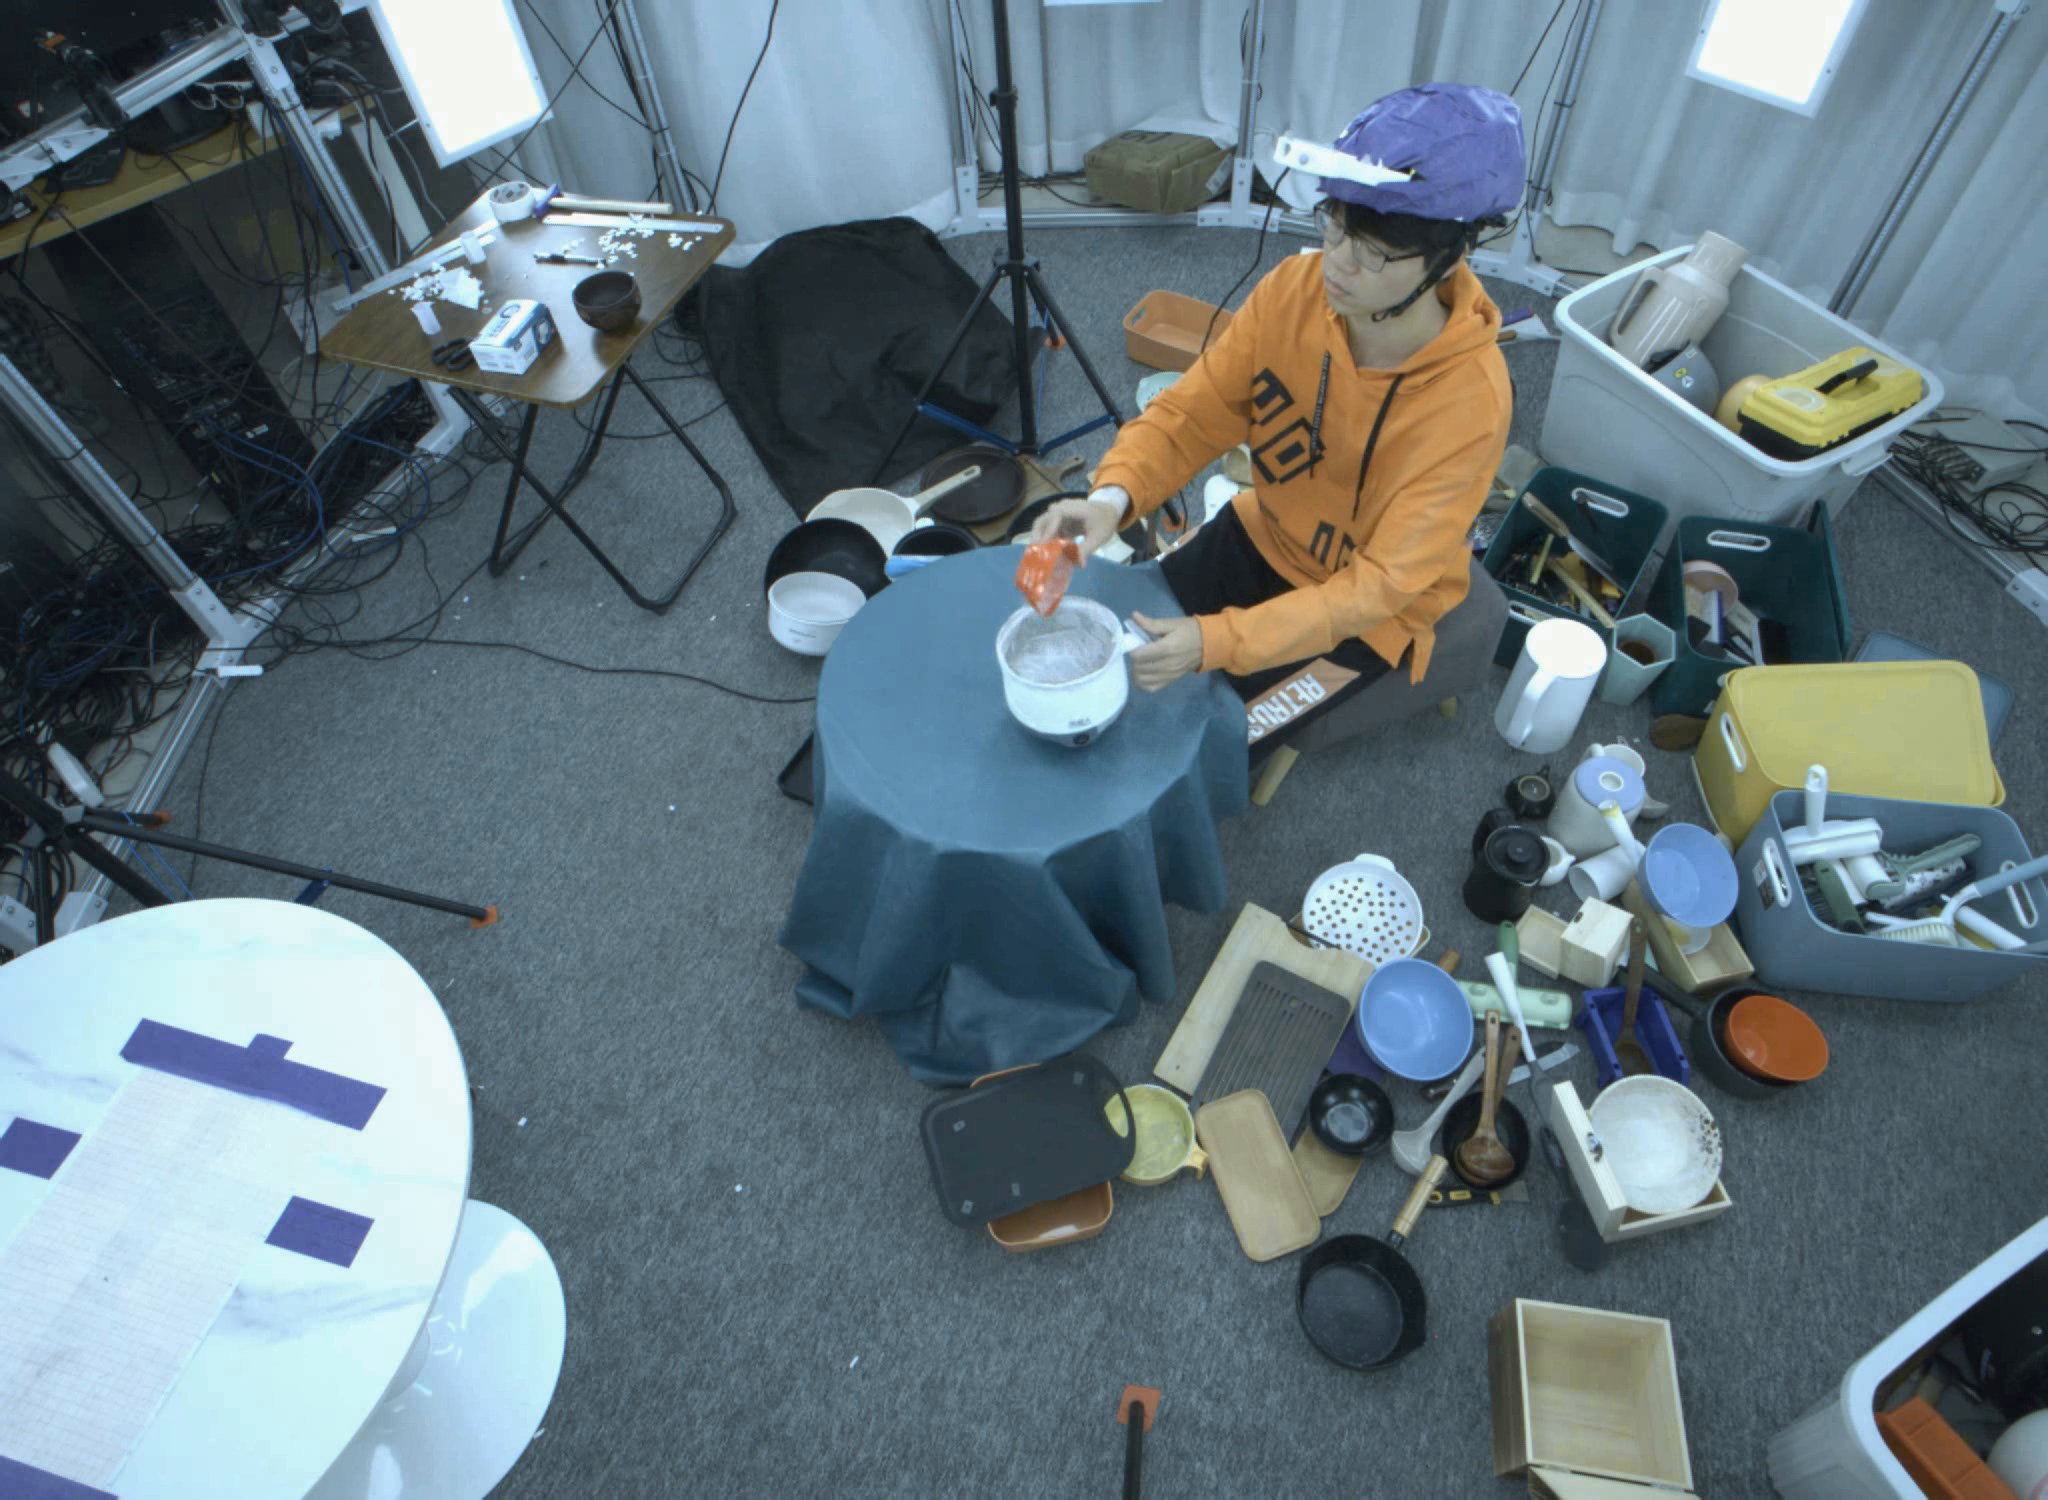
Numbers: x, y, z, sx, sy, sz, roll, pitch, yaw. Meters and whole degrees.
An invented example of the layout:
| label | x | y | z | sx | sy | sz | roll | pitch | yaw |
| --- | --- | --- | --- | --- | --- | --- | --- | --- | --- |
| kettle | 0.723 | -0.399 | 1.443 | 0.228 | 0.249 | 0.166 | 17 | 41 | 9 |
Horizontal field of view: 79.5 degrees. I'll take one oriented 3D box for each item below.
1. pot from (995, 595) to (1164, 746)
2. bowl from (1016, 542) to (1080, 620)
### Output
| label | x | y | z | sx | sy | sz | roll | pitch | yaw |
| --- | --- | --- | --- | --- | --- | --- | --- | --- | --- |
| pot | 0.083 | -0.119 | 1.748 | 0.234 | 0.138 | 0.176 | -15 | 51 | -4 |
| bowl | 0.028 | -0.235 | 1.660 | 0.051 | 0.120 | 0.119 | 24 | 59 | 11 |
